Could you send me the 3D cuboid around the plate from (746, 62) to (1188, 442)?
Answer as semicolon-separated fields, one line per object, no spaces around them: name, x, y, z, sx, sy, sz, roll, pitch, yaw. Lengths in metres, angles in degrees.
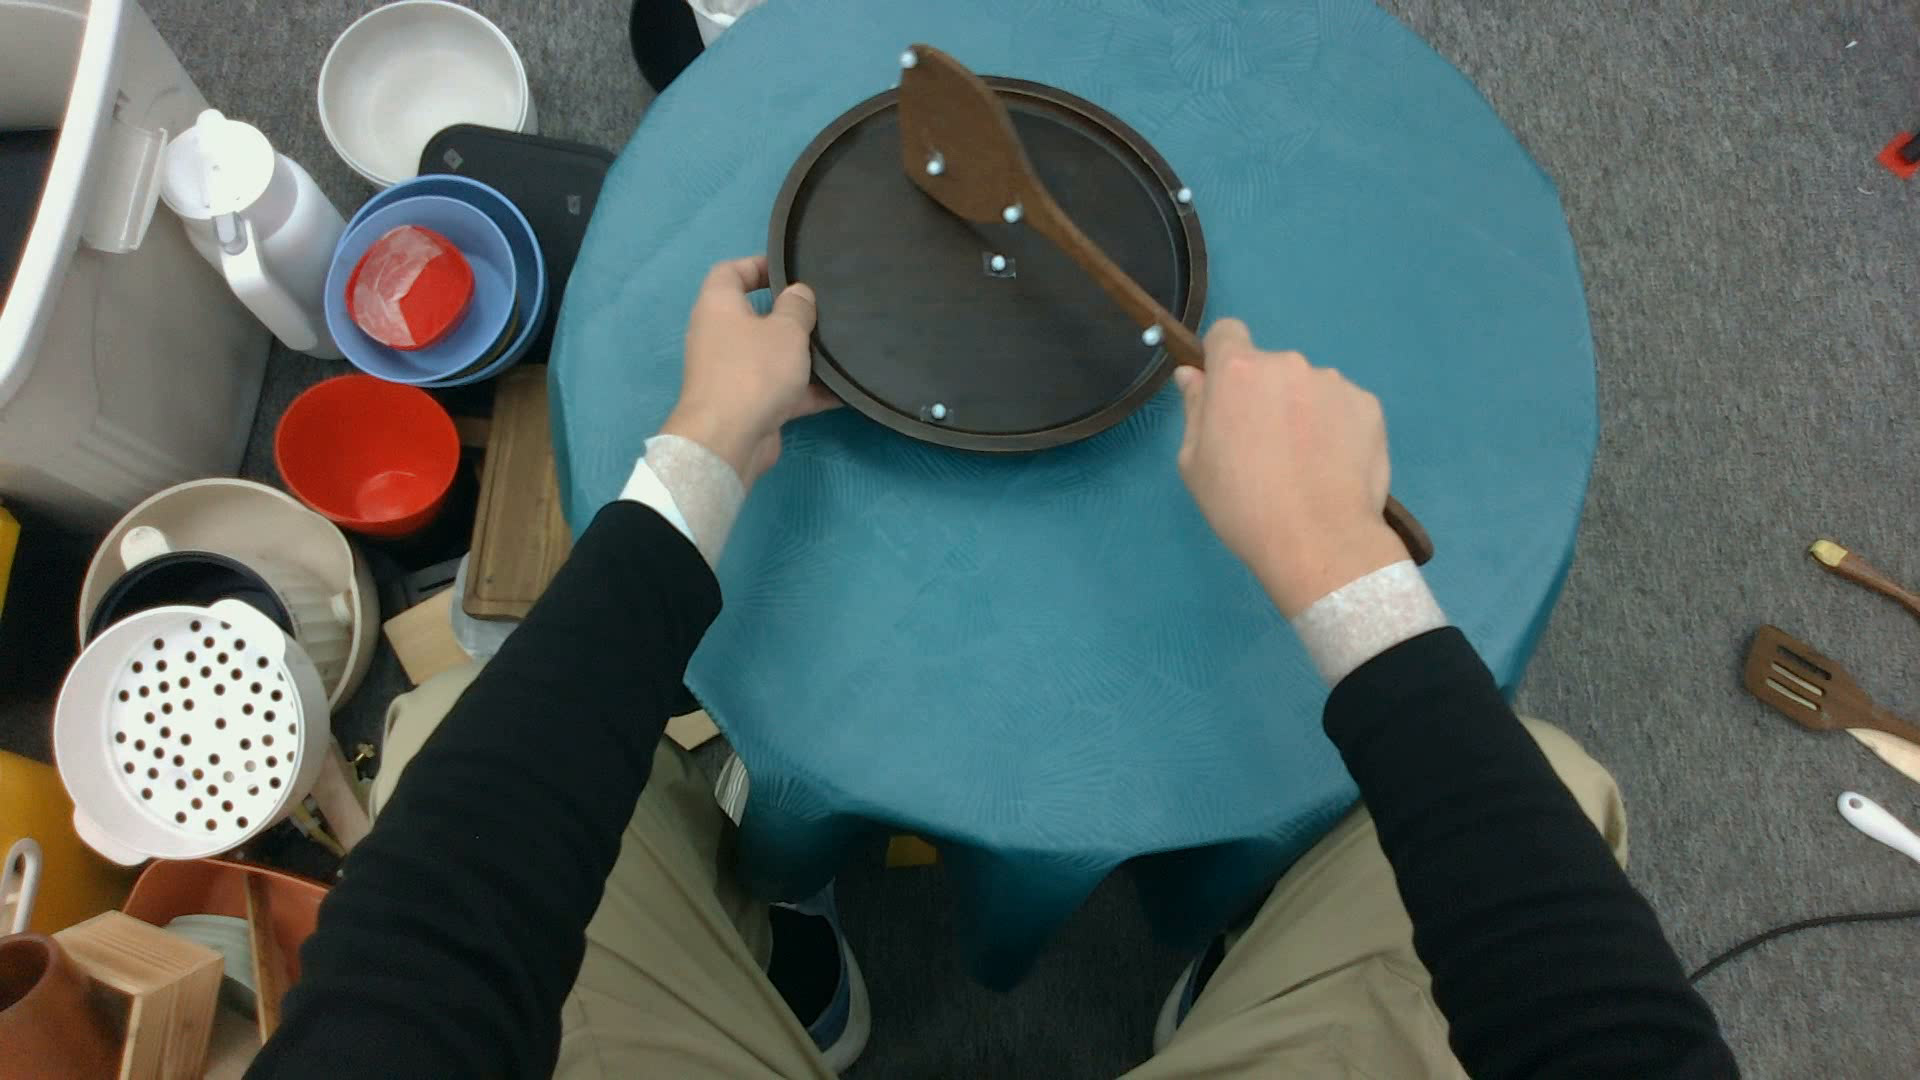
plate;0.005;-0.168;0.789;0.255;0.029;0.255;3;67;-6

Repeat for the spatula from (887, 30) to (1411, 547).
spatula;0.081;-0.129;0.700;0.016;0.095;0.386;-31;64;-24
